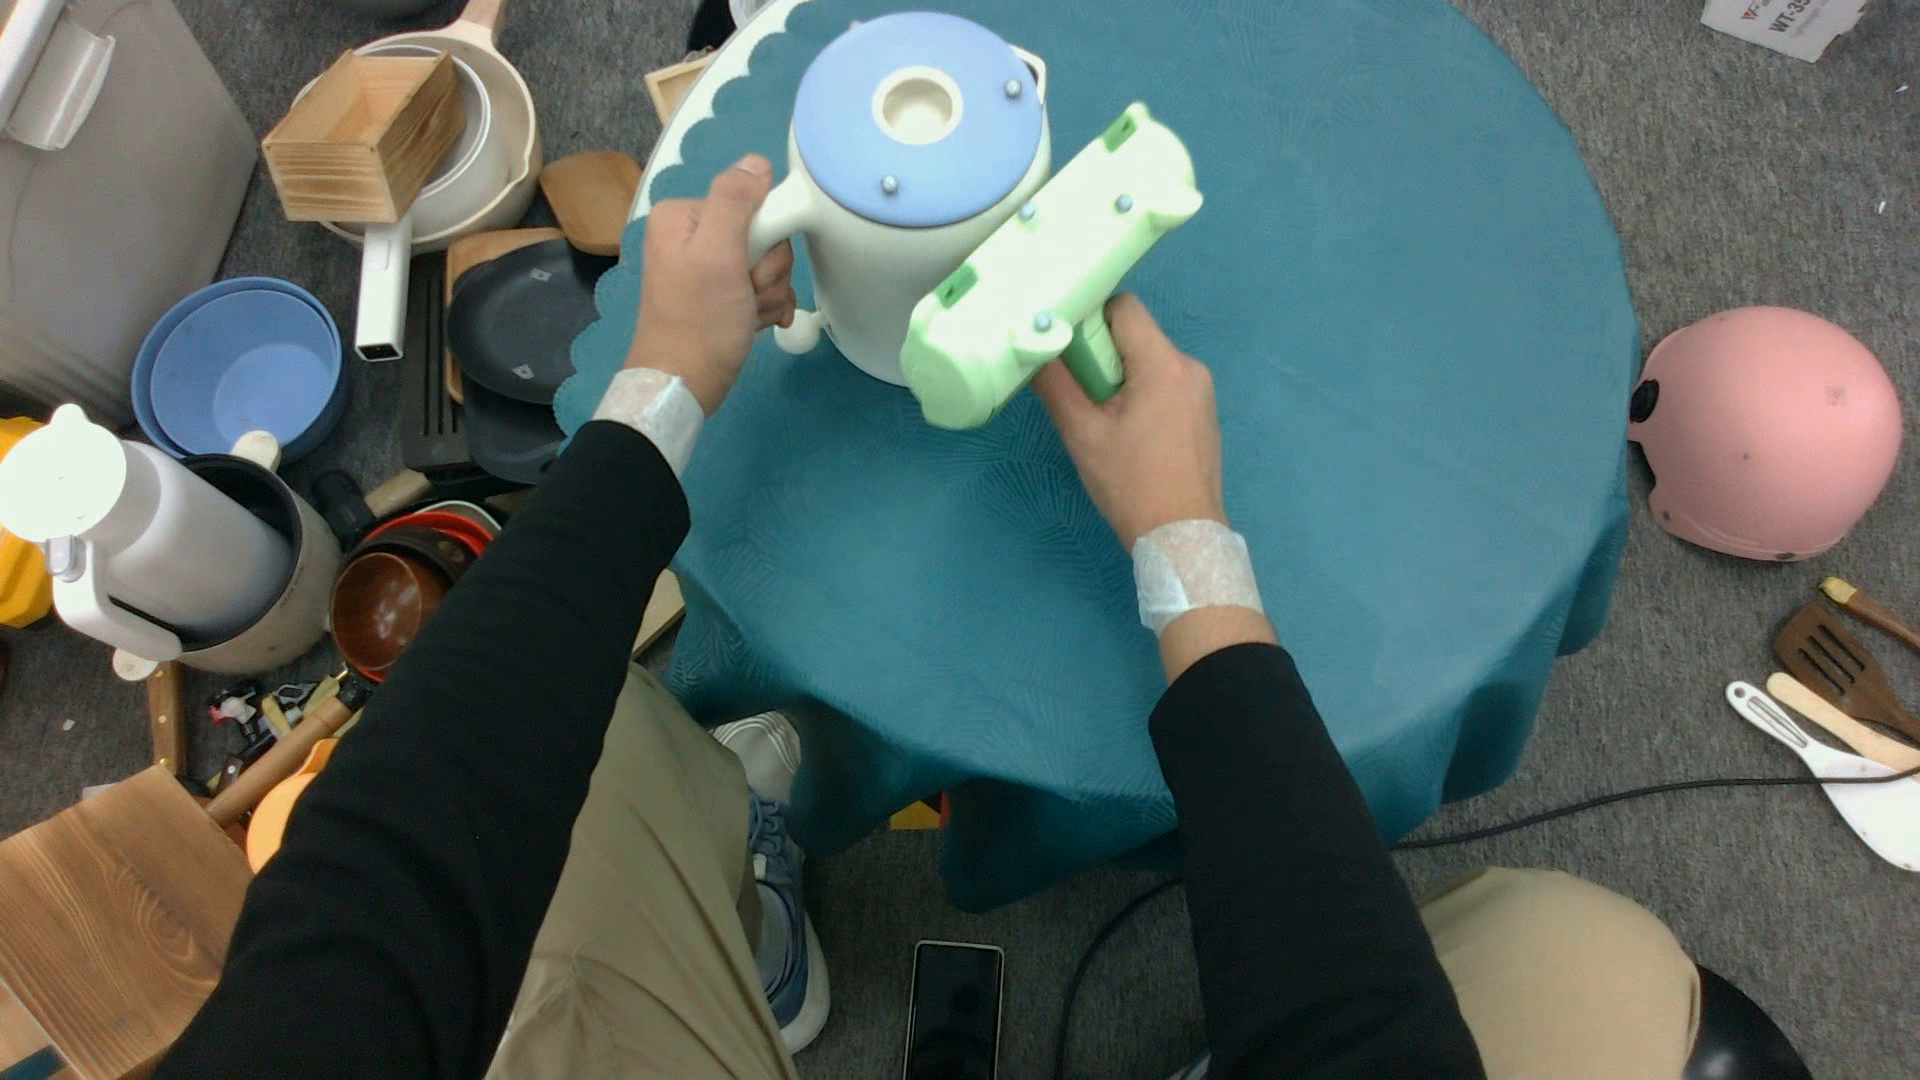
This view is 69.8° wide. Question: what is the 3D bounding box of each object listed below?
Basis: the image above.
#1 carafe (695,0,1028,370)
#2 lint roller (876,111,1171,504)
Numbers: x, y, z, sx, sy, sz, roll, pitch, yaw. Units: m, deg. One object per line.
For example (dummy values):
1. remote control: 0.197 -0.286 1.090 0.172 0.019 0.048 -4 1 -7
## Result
1. carafe: -0.053 -0.170 0.726 0.191 0.182 0.132 -30 73 -8
2. lint roller: 0.066 -0.093 0.697 0.199 0.082 0.183 -48 116 -31
